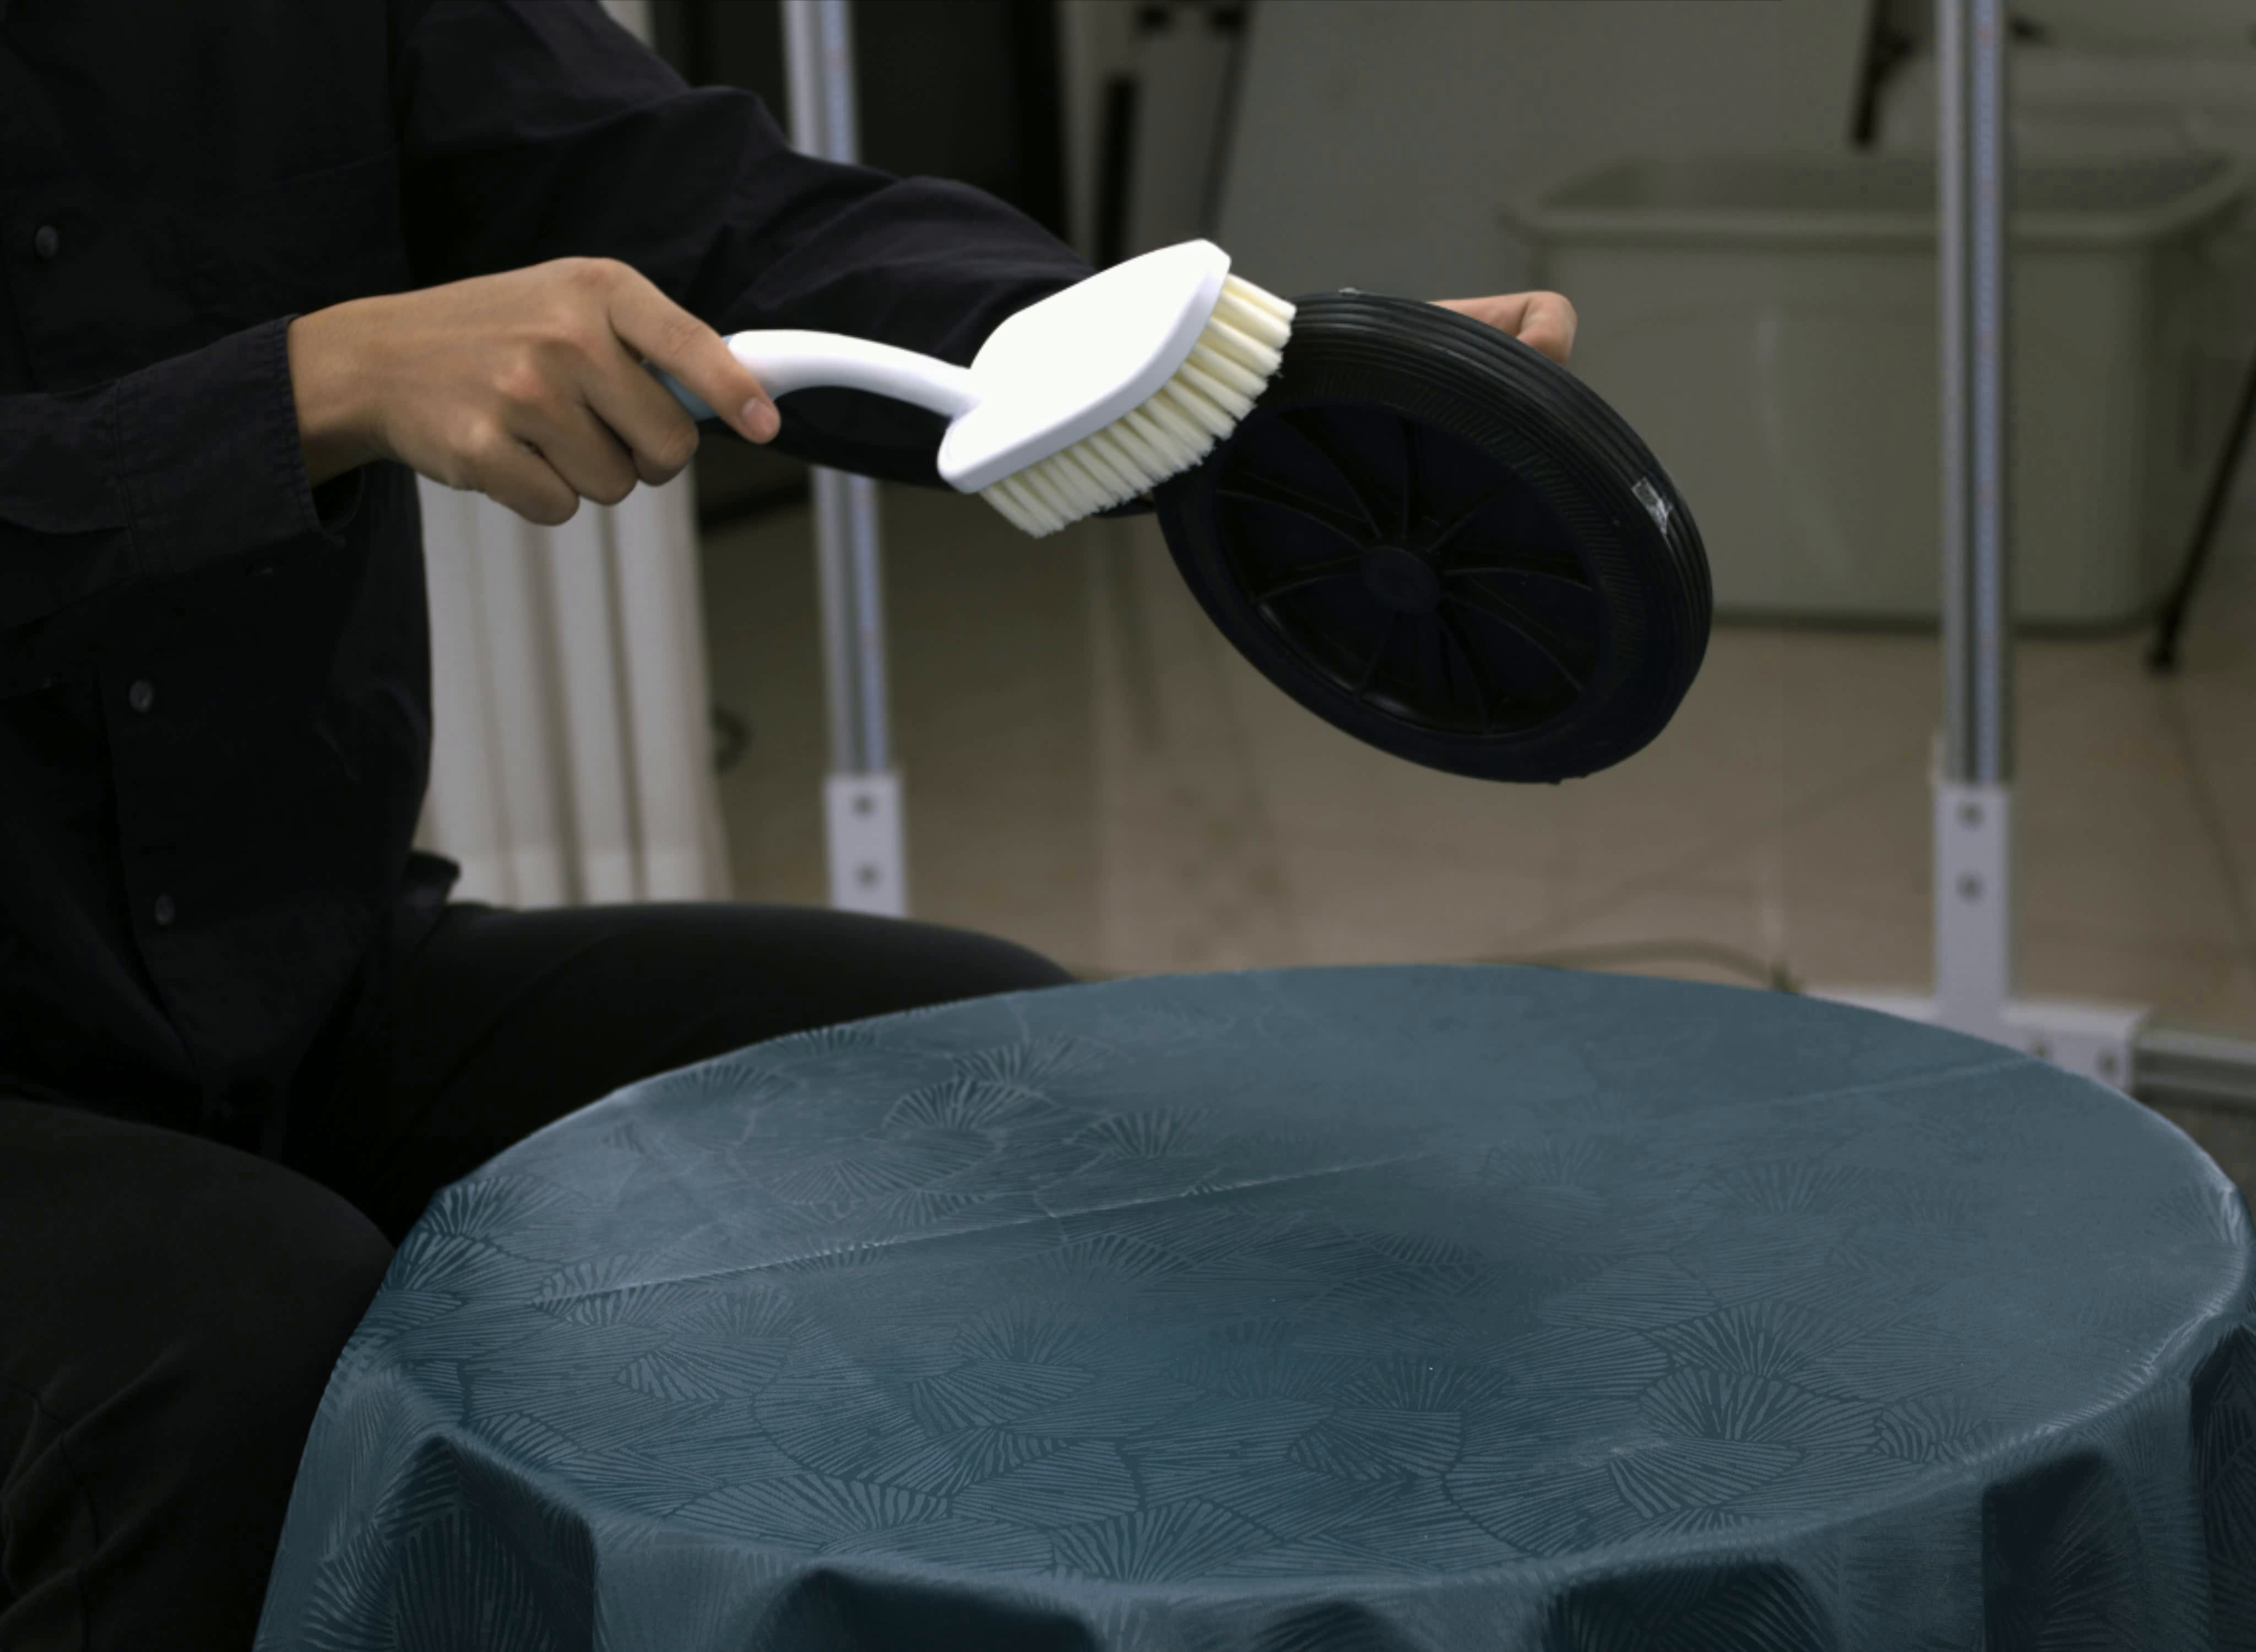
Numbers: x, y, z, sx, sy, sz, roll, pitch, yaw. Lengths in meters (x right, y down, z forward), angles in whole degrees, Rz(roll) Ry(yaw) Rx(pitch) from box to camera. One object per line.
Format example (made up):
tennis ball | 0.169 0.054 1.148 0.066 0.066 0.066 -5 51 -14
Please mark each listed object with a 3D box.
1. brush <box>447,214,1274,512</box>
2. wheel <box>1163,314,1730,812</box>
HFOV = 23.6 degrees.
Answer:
brush | -0.080 -0.134 1.718 0.328 0.085 0.082 -10 13 38
wheel | 0.108 -0.094 1.700 0.190 0.188 0.079 16 50 22
